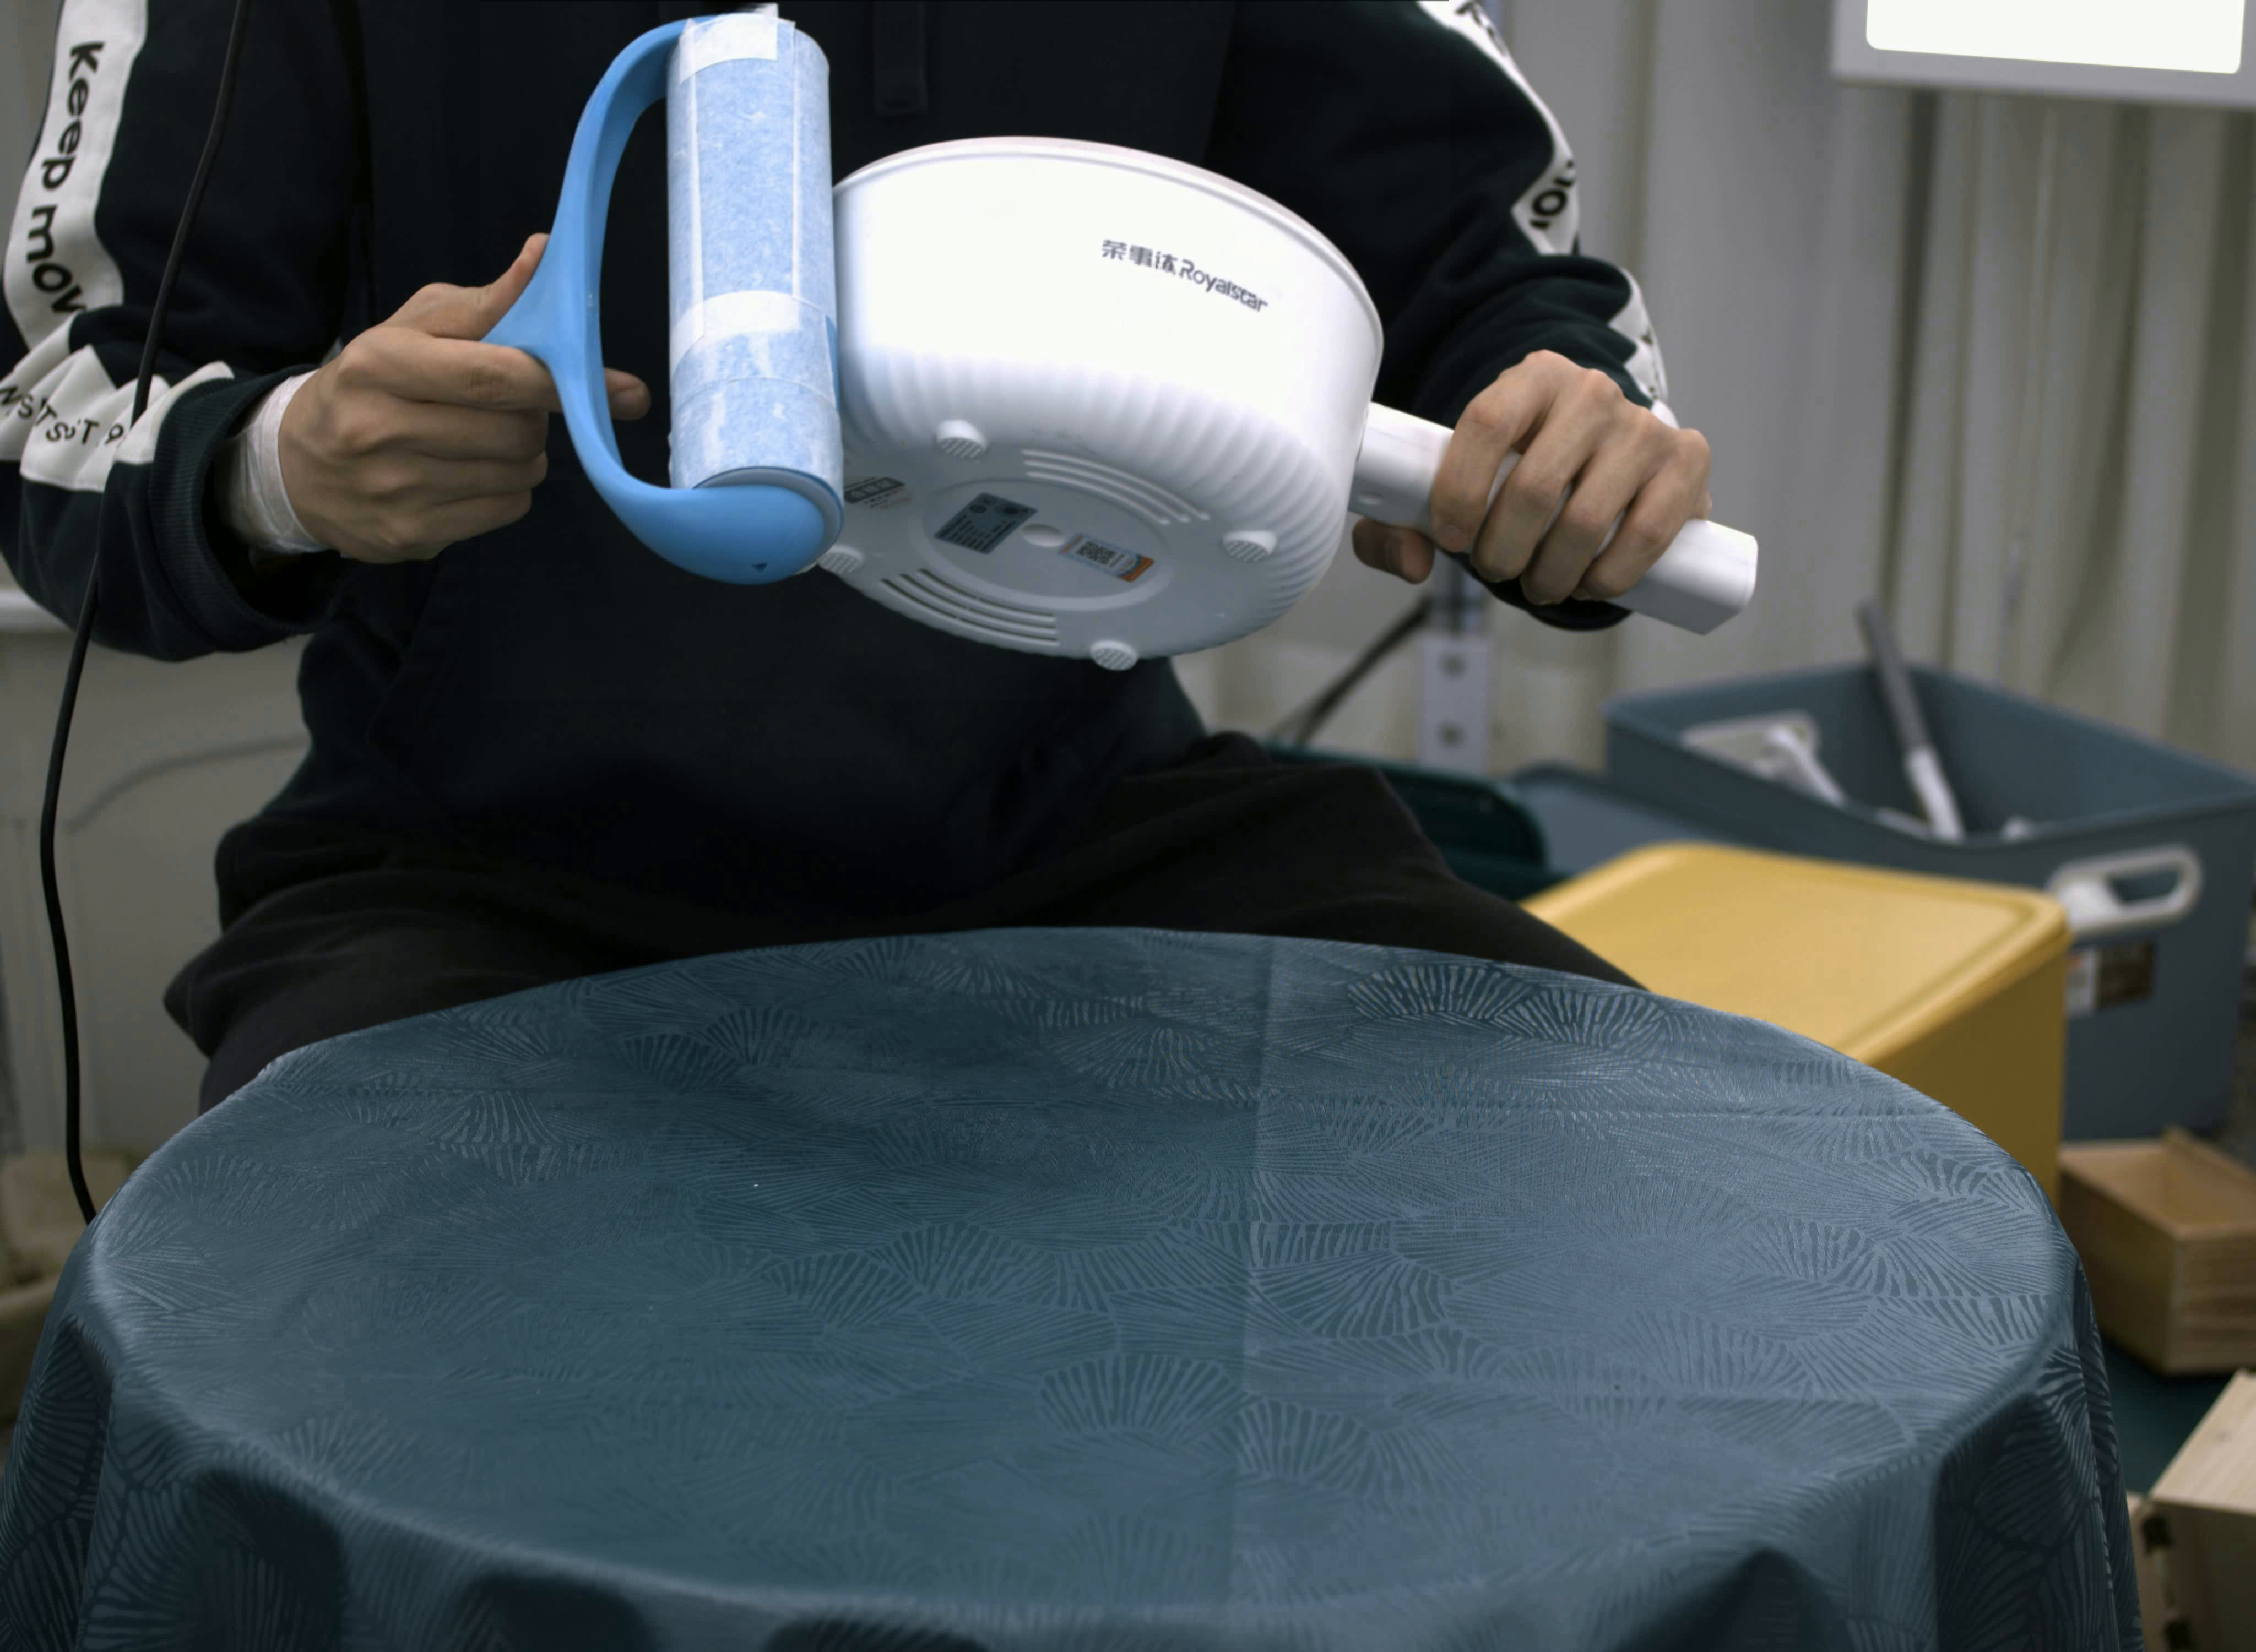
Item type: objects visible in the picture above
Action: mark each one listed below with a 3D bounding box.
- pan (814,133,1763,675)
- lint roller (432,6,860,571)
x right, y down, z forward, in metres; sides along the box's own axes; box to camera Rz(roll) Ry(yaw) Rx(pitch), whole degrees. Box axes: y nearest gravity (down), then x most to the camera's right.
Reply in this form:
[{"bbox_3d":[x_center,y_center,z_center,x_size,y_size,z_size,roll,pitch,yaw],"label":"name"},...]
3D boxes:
[{"bbox_3d":[0.048,-0.107,1.764,0.357,0.101,0.201,20,-27,-20],"label":"pan"},{"bbox_3d":[-0.167,-0.151,1.689,0.179,0.069,0.227,-25,51,21],"label":"lint roller"}]
